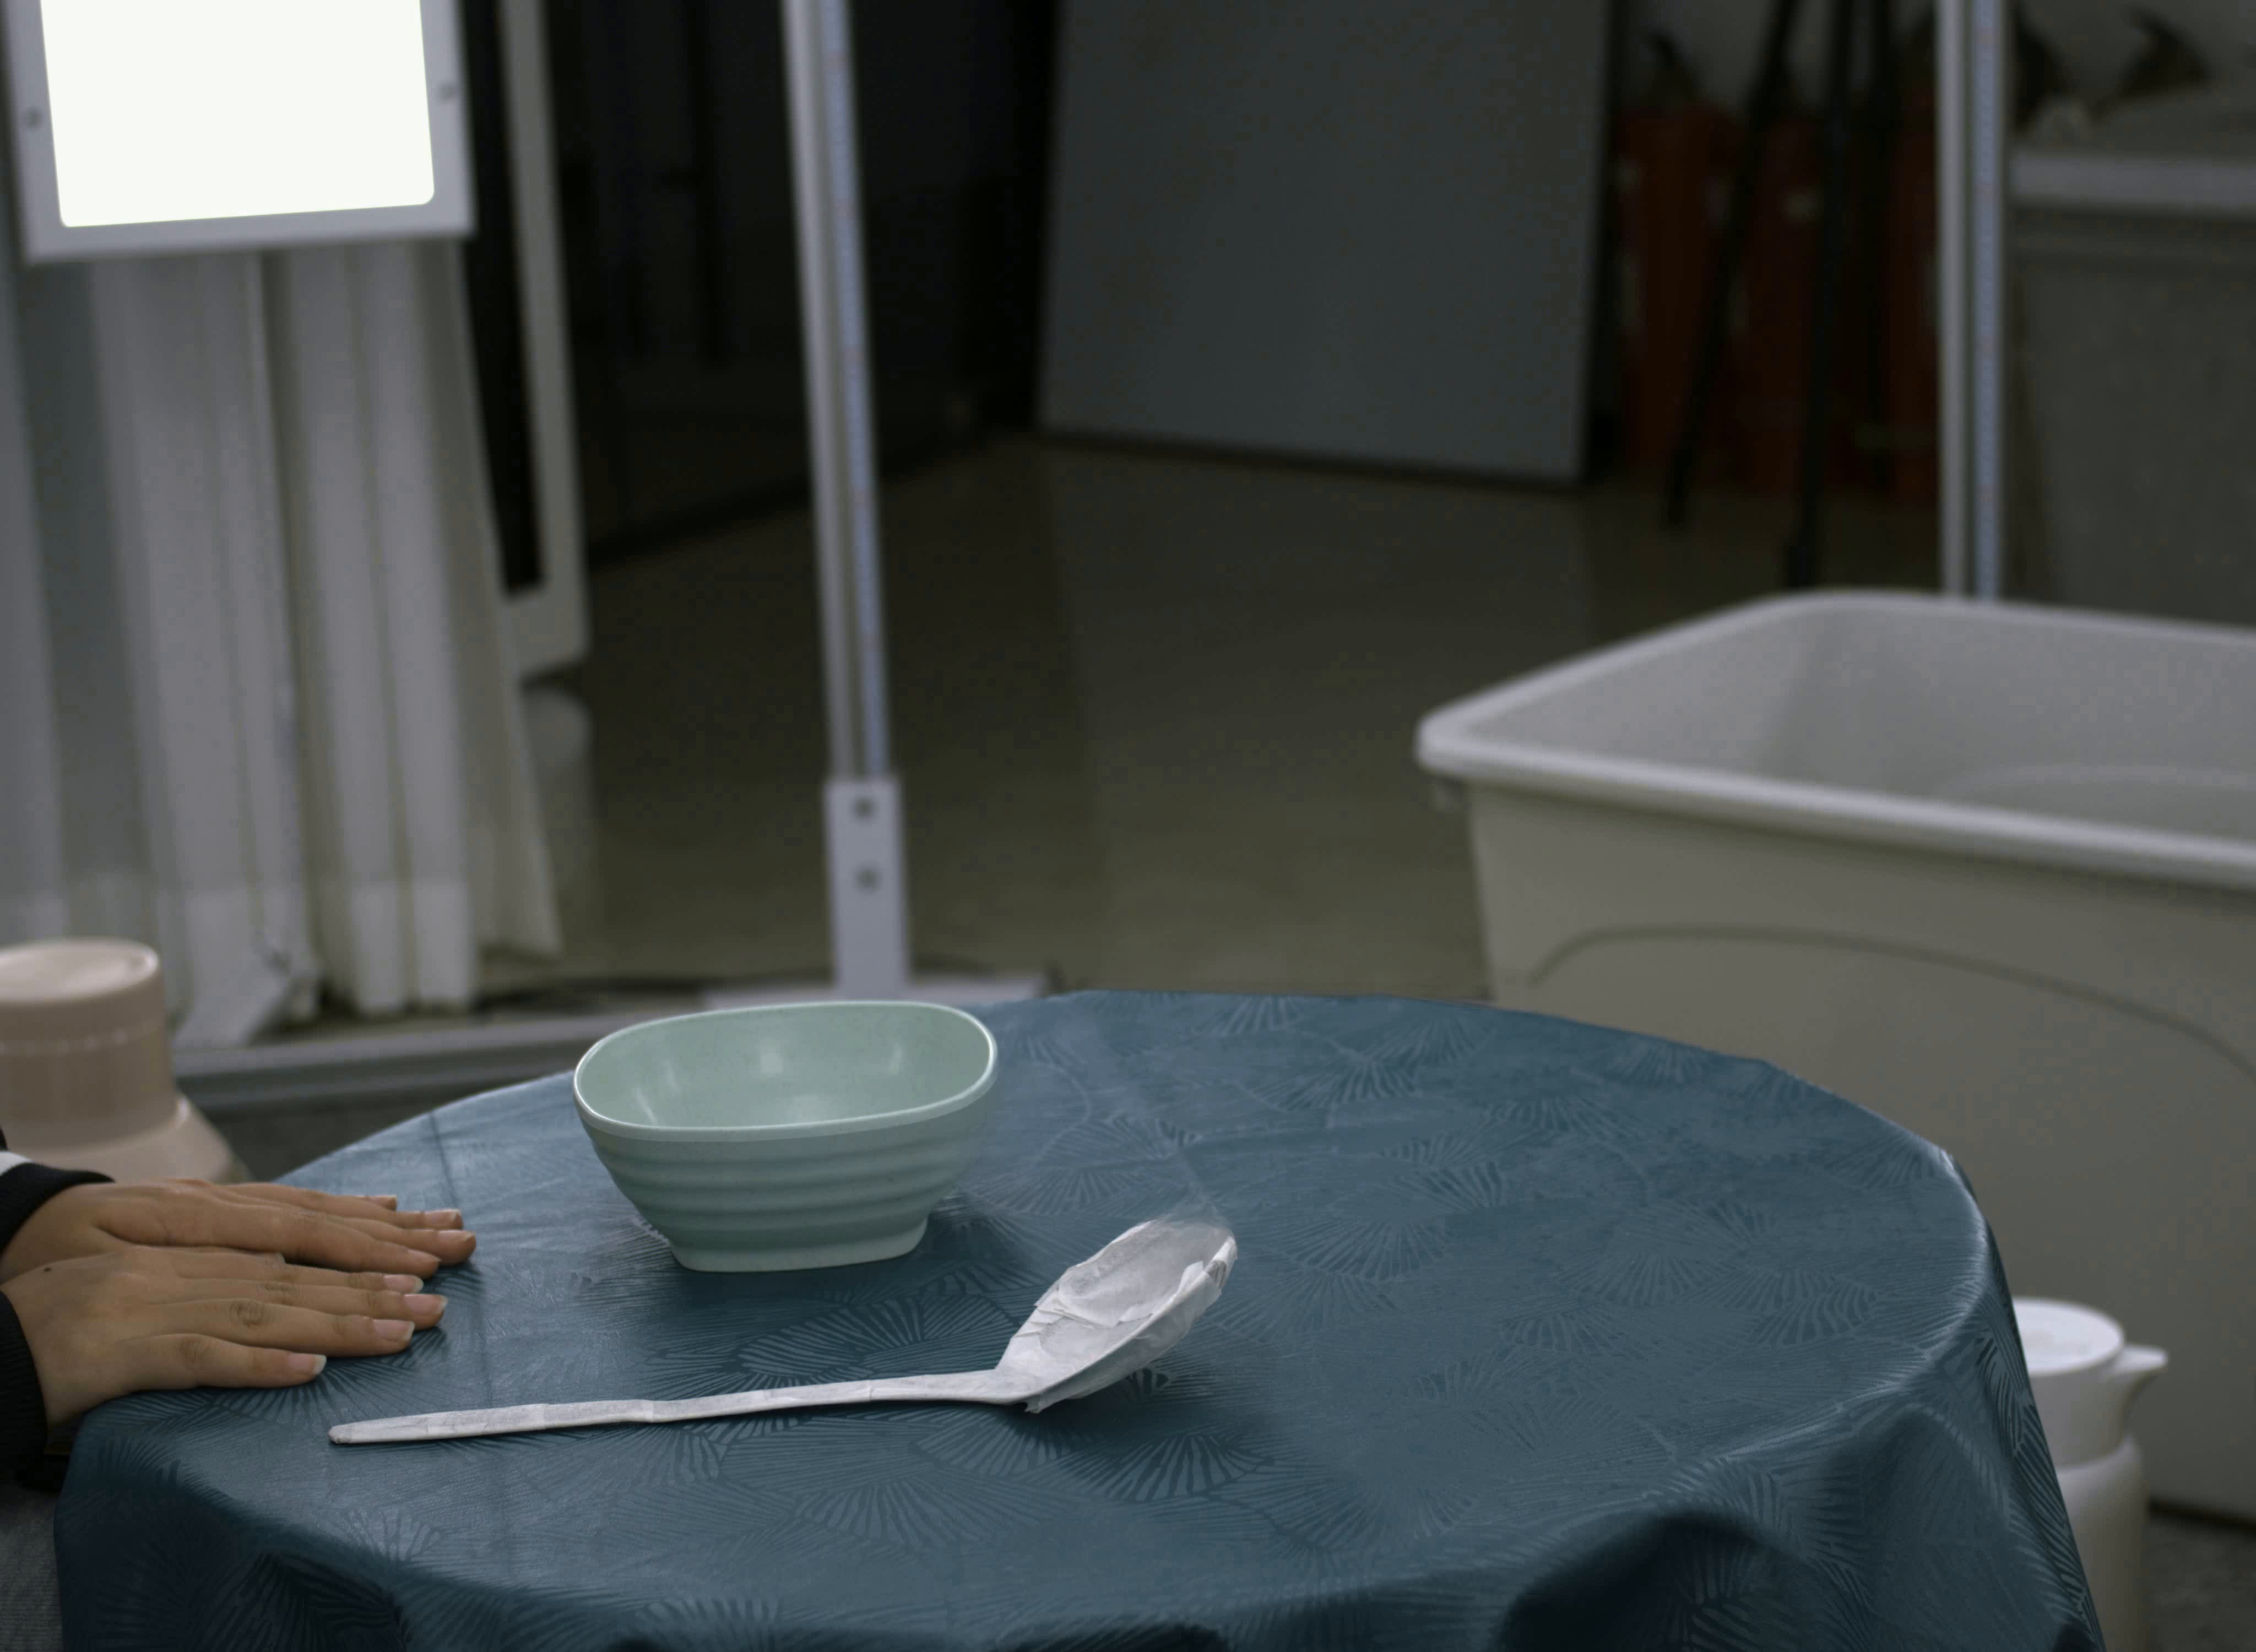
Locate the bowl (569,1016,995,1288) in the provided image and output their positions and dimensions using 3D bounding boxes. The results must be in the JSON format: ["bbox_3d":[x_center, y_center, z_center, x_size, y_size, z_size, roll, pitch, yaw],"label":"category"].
[{"bbox_3d":[-0.110,0.108,1.748,0.149,0.059,0.151,-4,13,0],"label":"bowl"}]

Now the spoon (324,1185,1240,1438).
[{"bbox_3d":[-0.102,0.143,1.593,0.274,0.060,0.100,-3,8,4],"label":"spoon"}]
